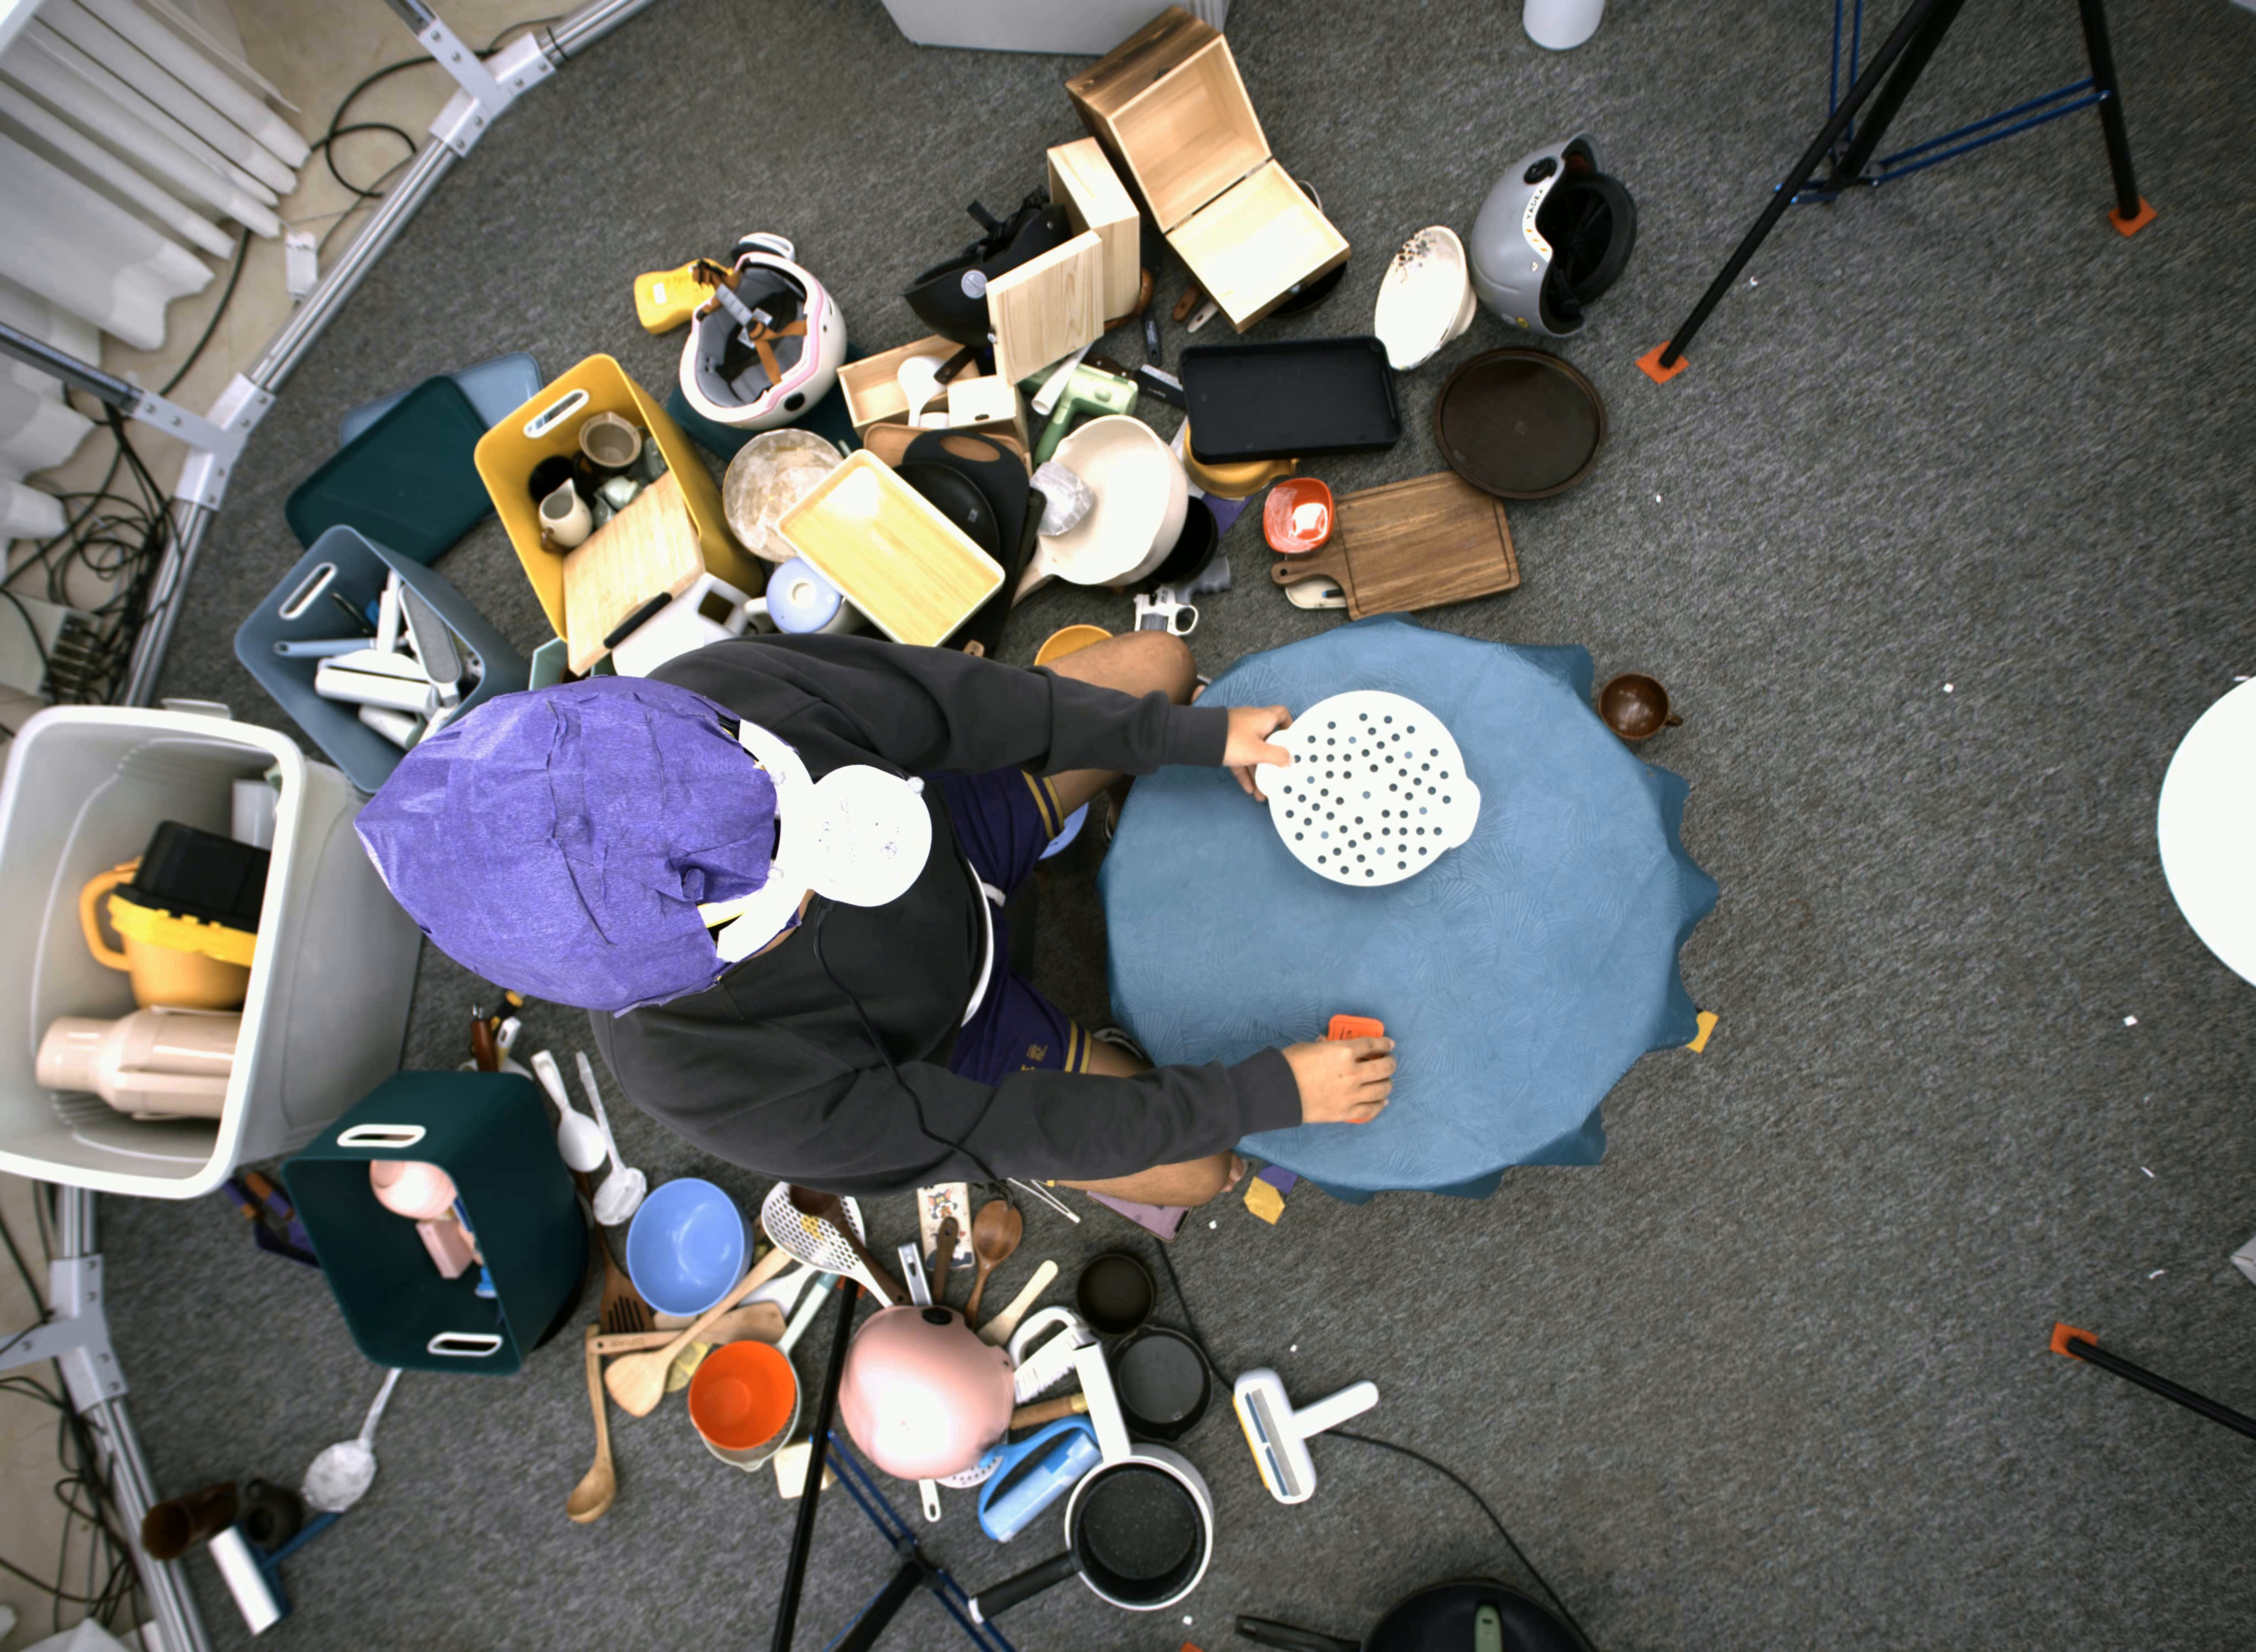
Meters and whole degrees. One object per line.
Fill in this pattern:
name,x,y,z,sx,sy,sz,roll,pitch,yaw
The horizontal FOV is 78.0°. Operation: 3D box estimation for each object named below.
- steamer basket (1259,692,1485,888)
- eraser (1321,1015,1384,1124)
steamer basket,0.253,-0.036,1.436,0.231,0.069,0.201,15,90,10
eraser,0.233,0.250,1.434,0.059,0.023,0.108,4,89,19
